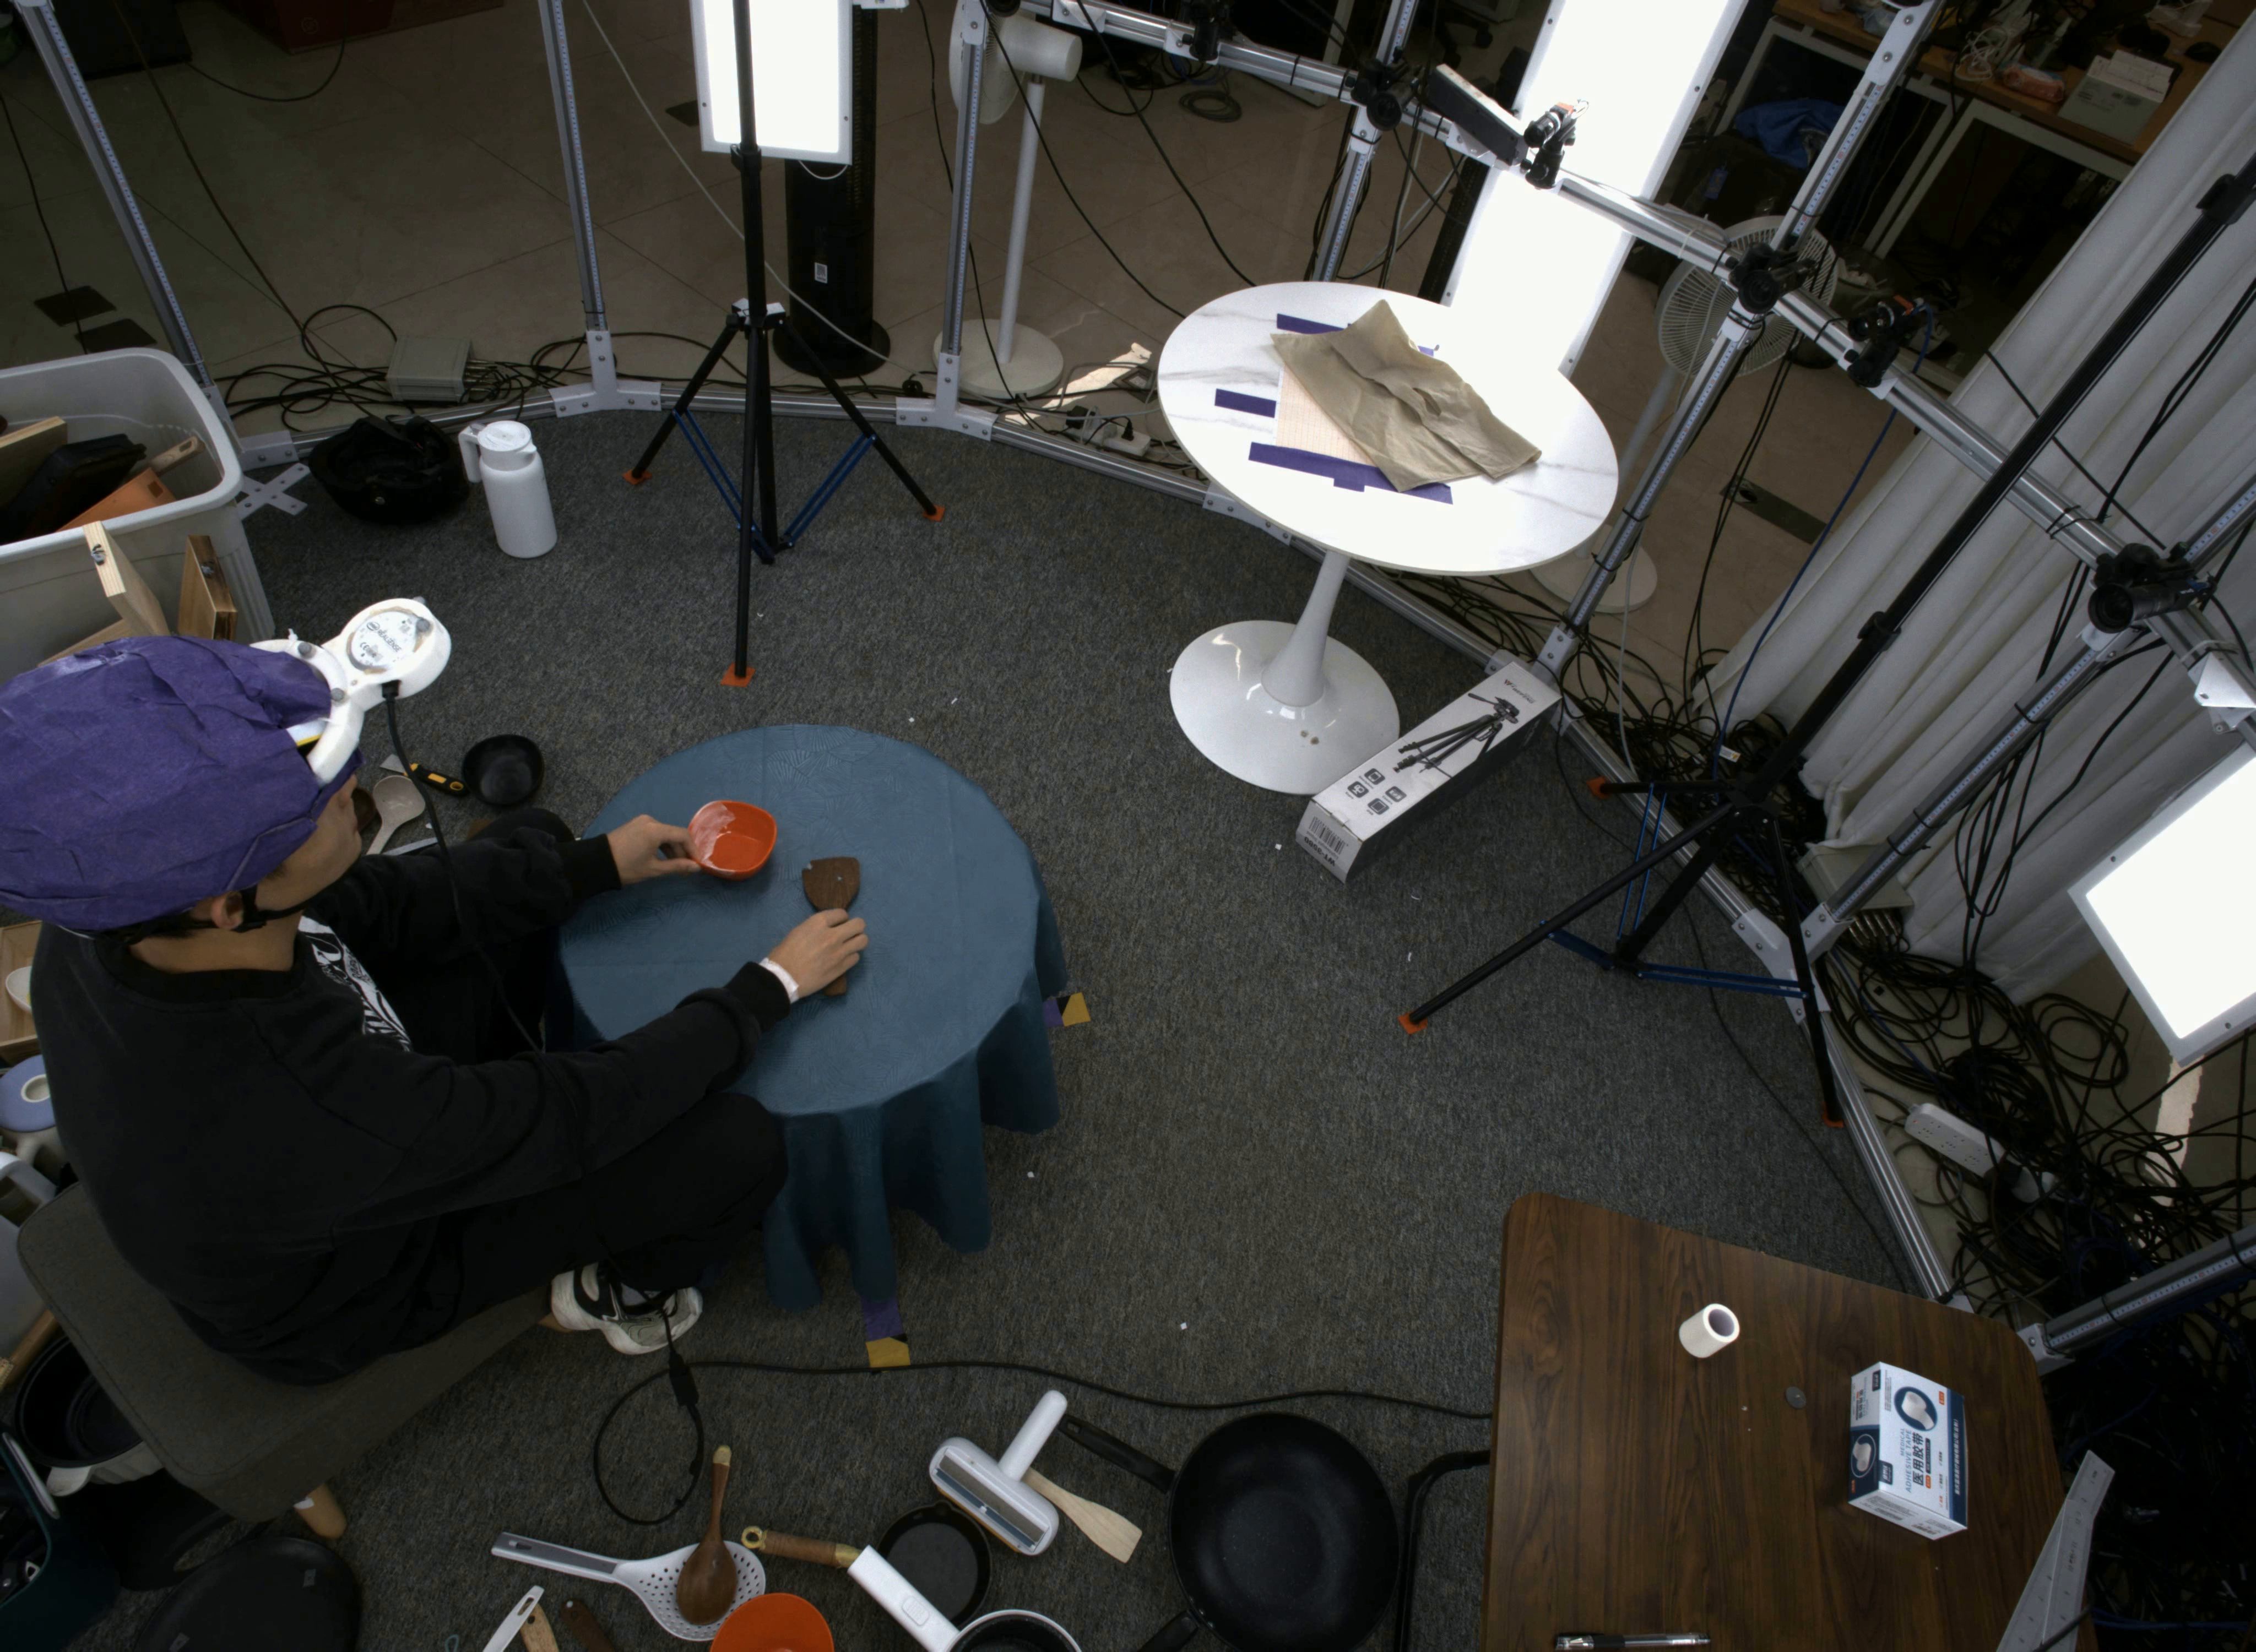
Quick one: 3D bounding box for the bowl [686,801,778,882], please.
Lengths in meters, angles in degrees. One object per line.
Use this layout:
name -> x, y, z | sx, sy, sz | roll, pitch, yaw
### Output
bowl -> -0.507, 0.026, 1.655 | 0.119, 0.052, 0.117 | 10, 51, -10

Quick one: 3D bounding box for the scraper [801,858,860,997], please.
scraper -> -0.371, 0.124, 1.636 | 0.076, 0.011, 0.206 | -5, 52, -11
